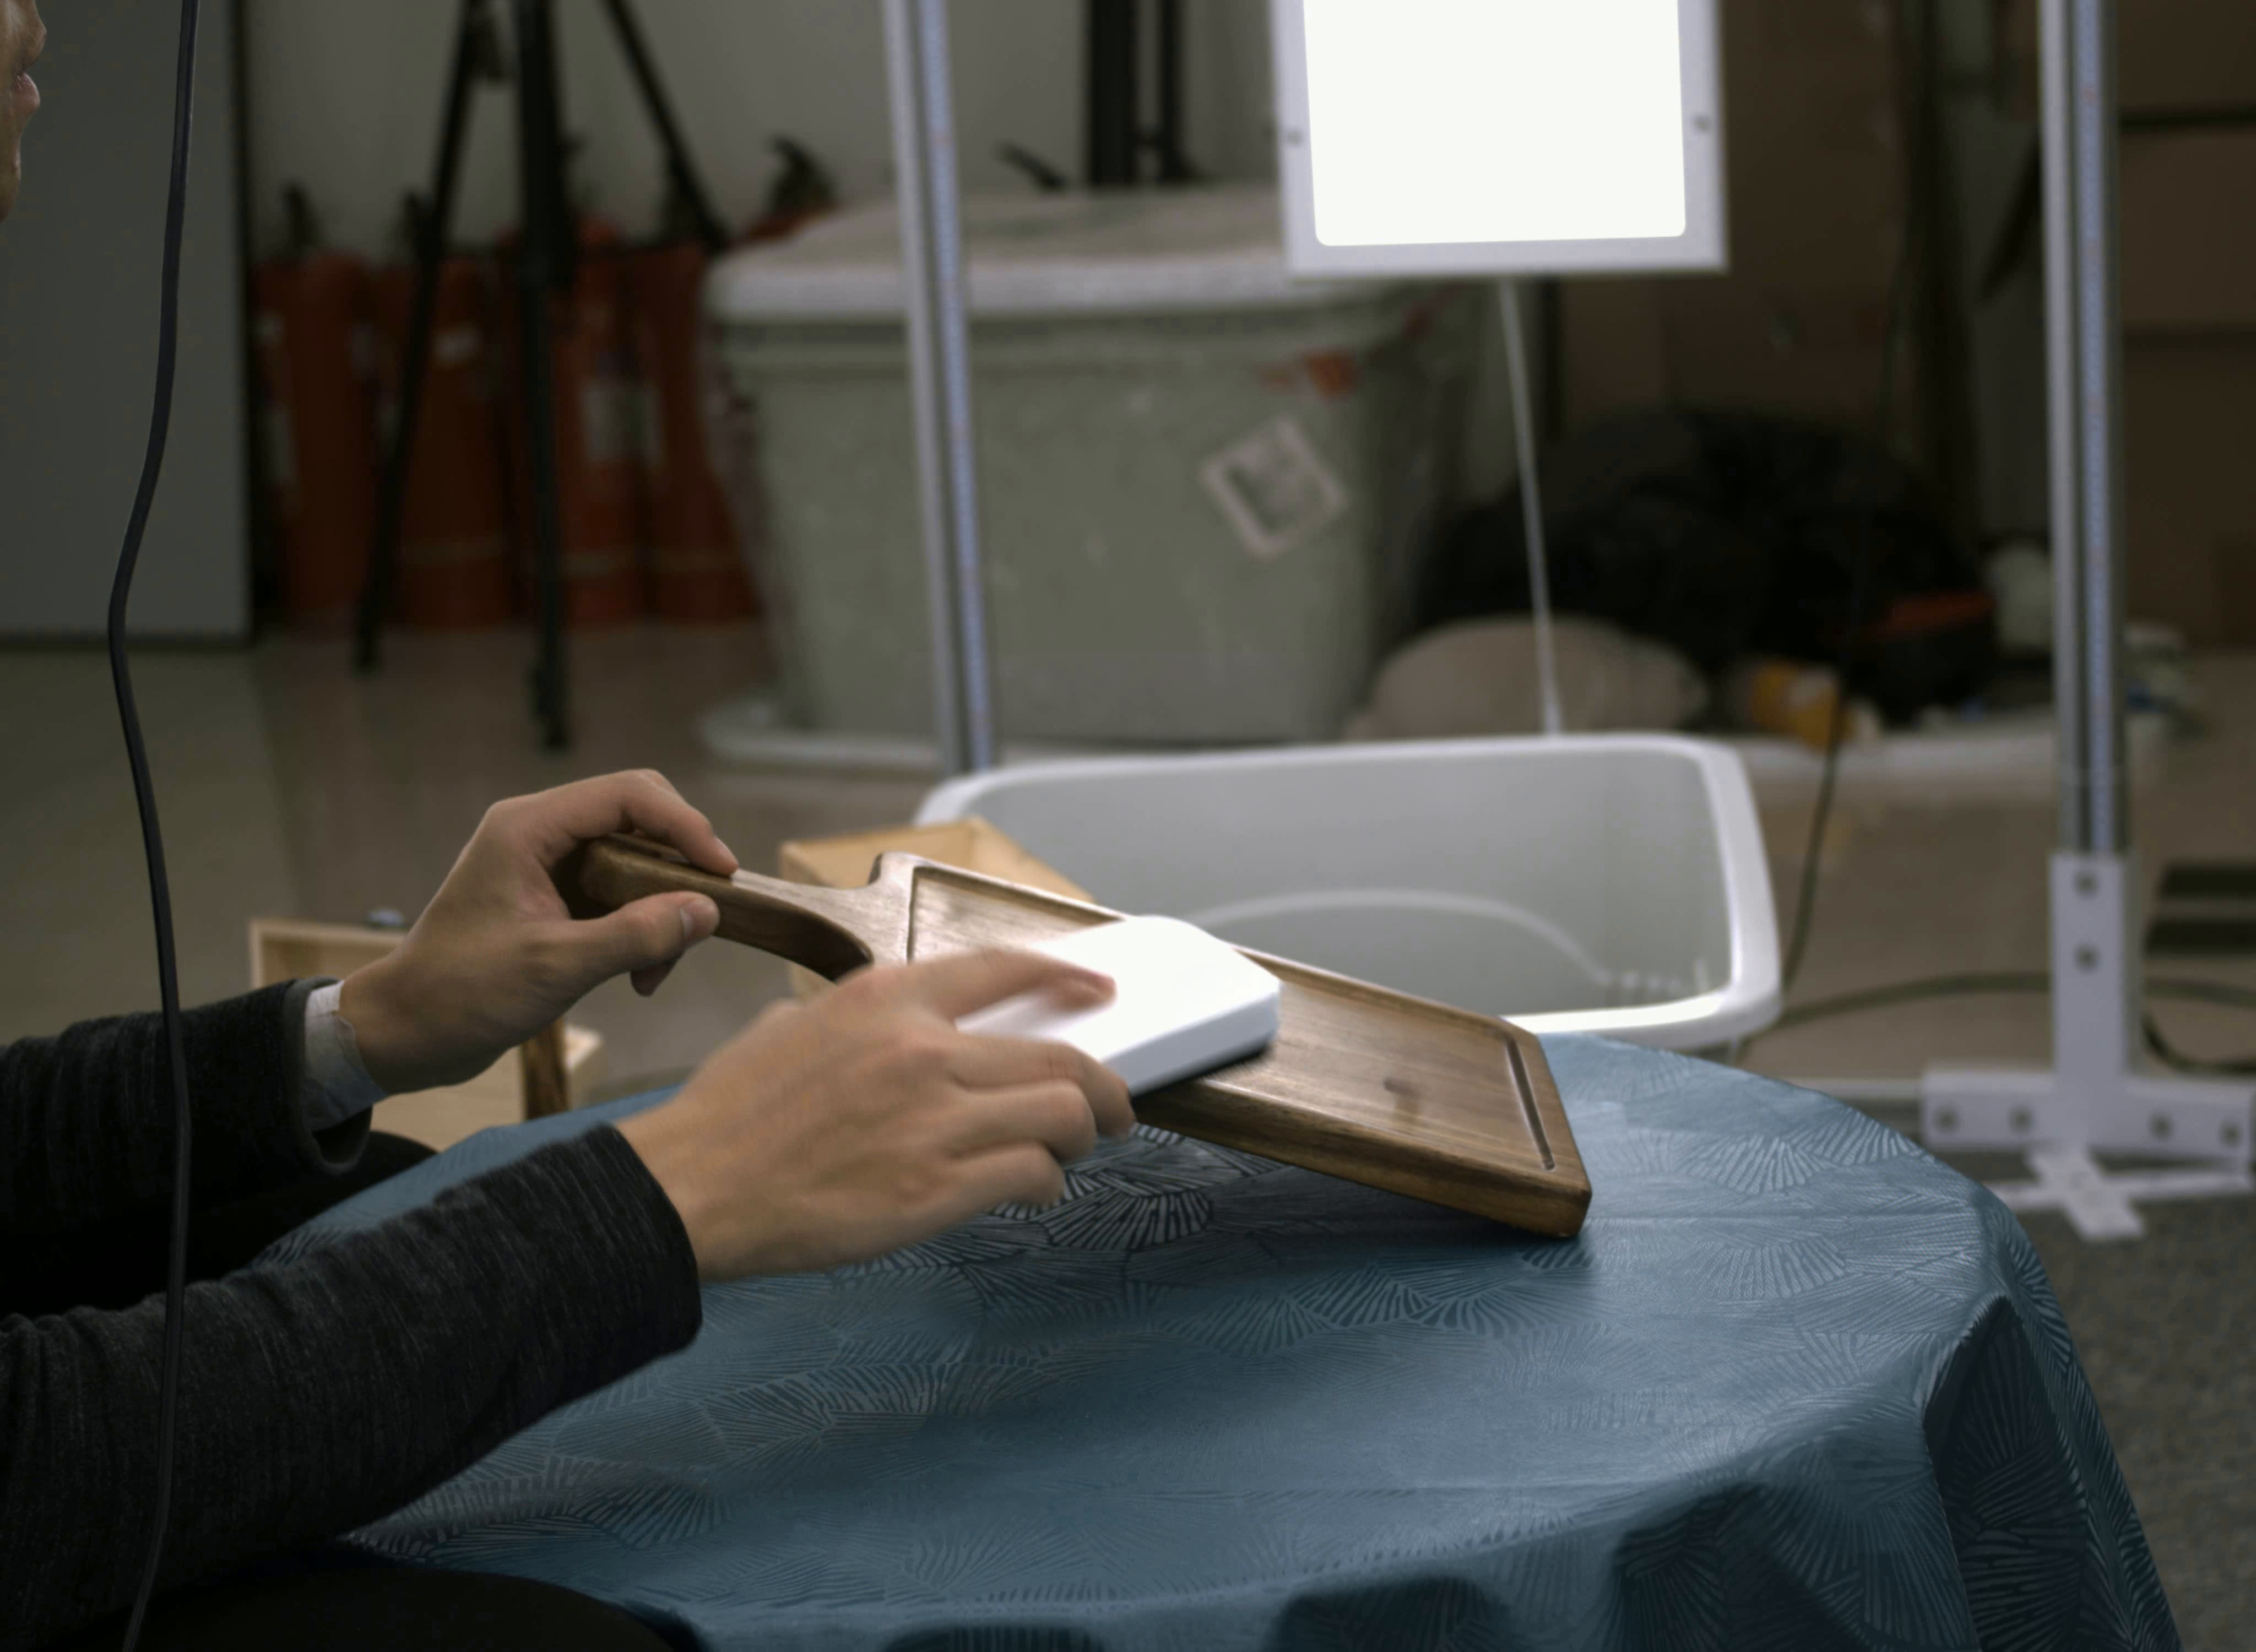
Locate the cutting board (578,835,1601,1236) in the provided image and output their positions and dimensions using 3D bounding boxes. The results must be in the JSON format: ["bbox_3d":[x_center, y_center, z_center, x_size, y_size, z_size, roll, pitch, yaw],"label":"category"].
[{"bbox_3d":[-0.016,0.059,1.886,0.350,0.023,0.200,15,13,-3],"label":"cutting board"}]

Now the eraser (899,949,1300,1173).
[{"bbox_3d":[-0.010,0.070,1.721,0.128,0.035,0.064,-15,33,-36],"label":"eraser"}]
